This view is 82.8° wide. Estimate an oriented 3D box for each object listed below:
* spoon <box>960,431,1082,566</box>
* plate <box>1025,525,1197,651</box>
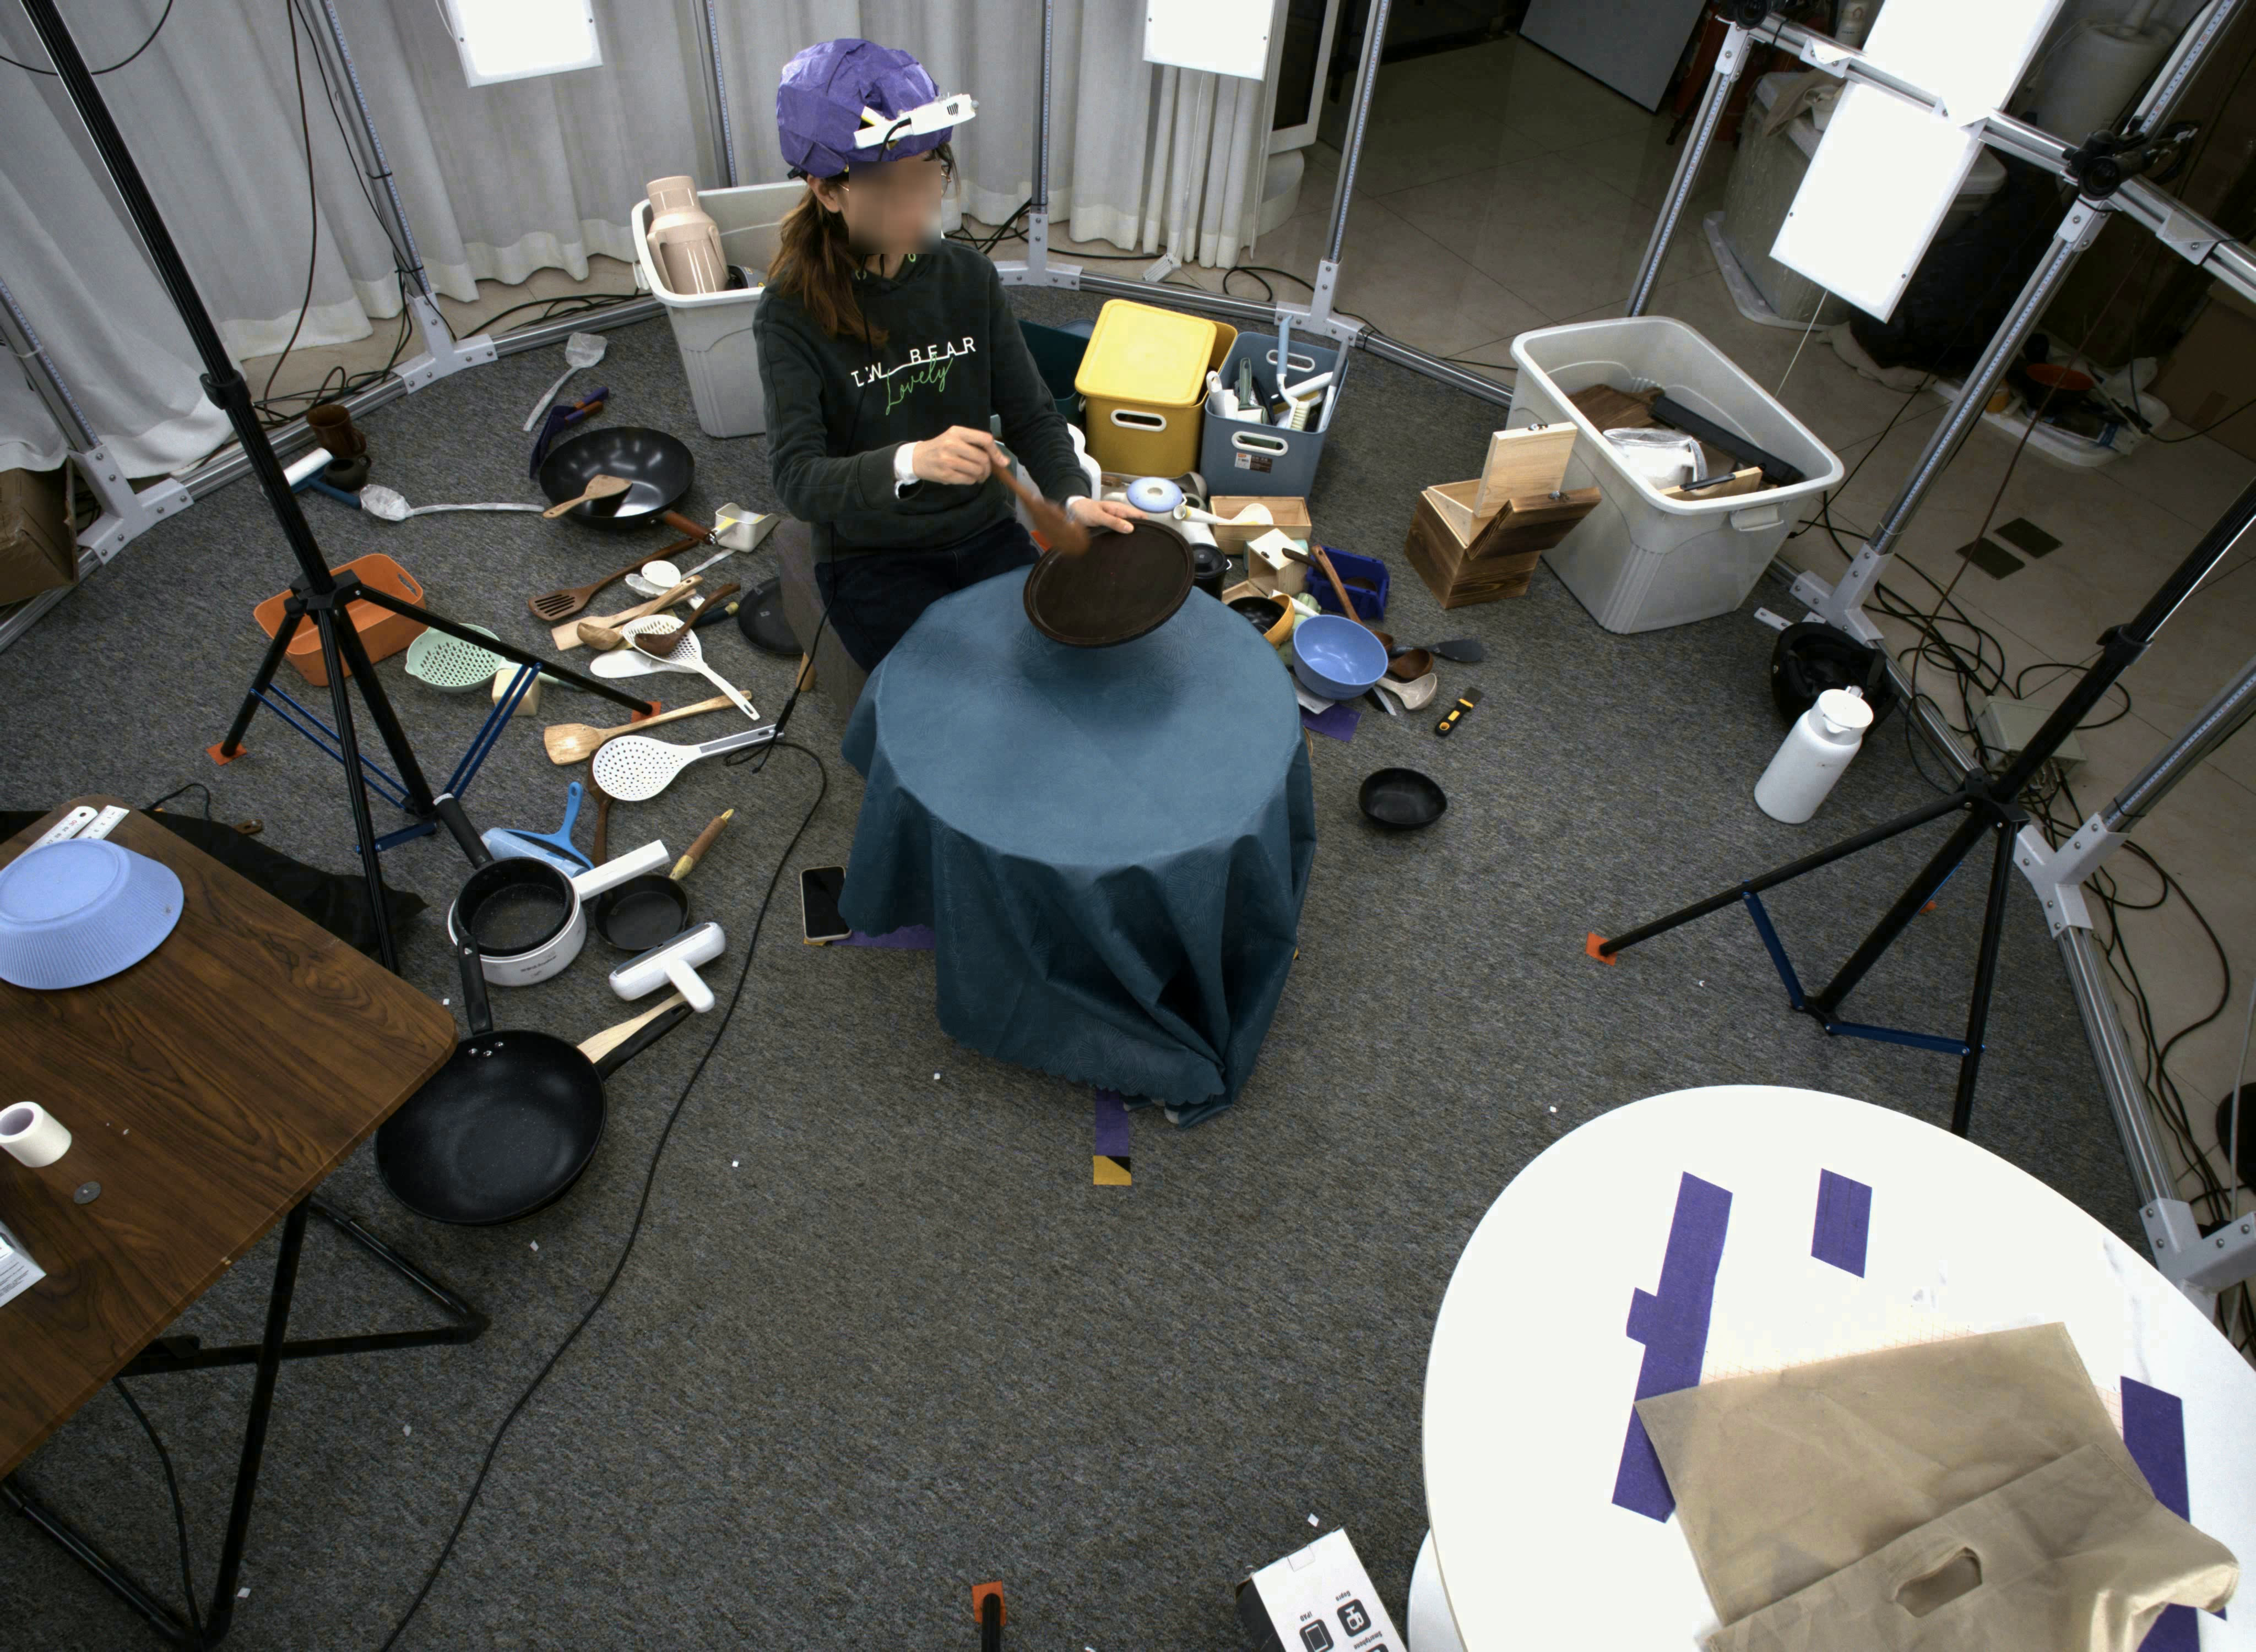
[{"bbox_3d":[-0.138,-0.418,1.668,0.213,0.075,0.017,49,62,-15],"label":"spoon"},{"bbox_3d":[-0.024,-0.344,1.851,0.255,0.028,0.261,-8,51,10],"label":"plate"}]
